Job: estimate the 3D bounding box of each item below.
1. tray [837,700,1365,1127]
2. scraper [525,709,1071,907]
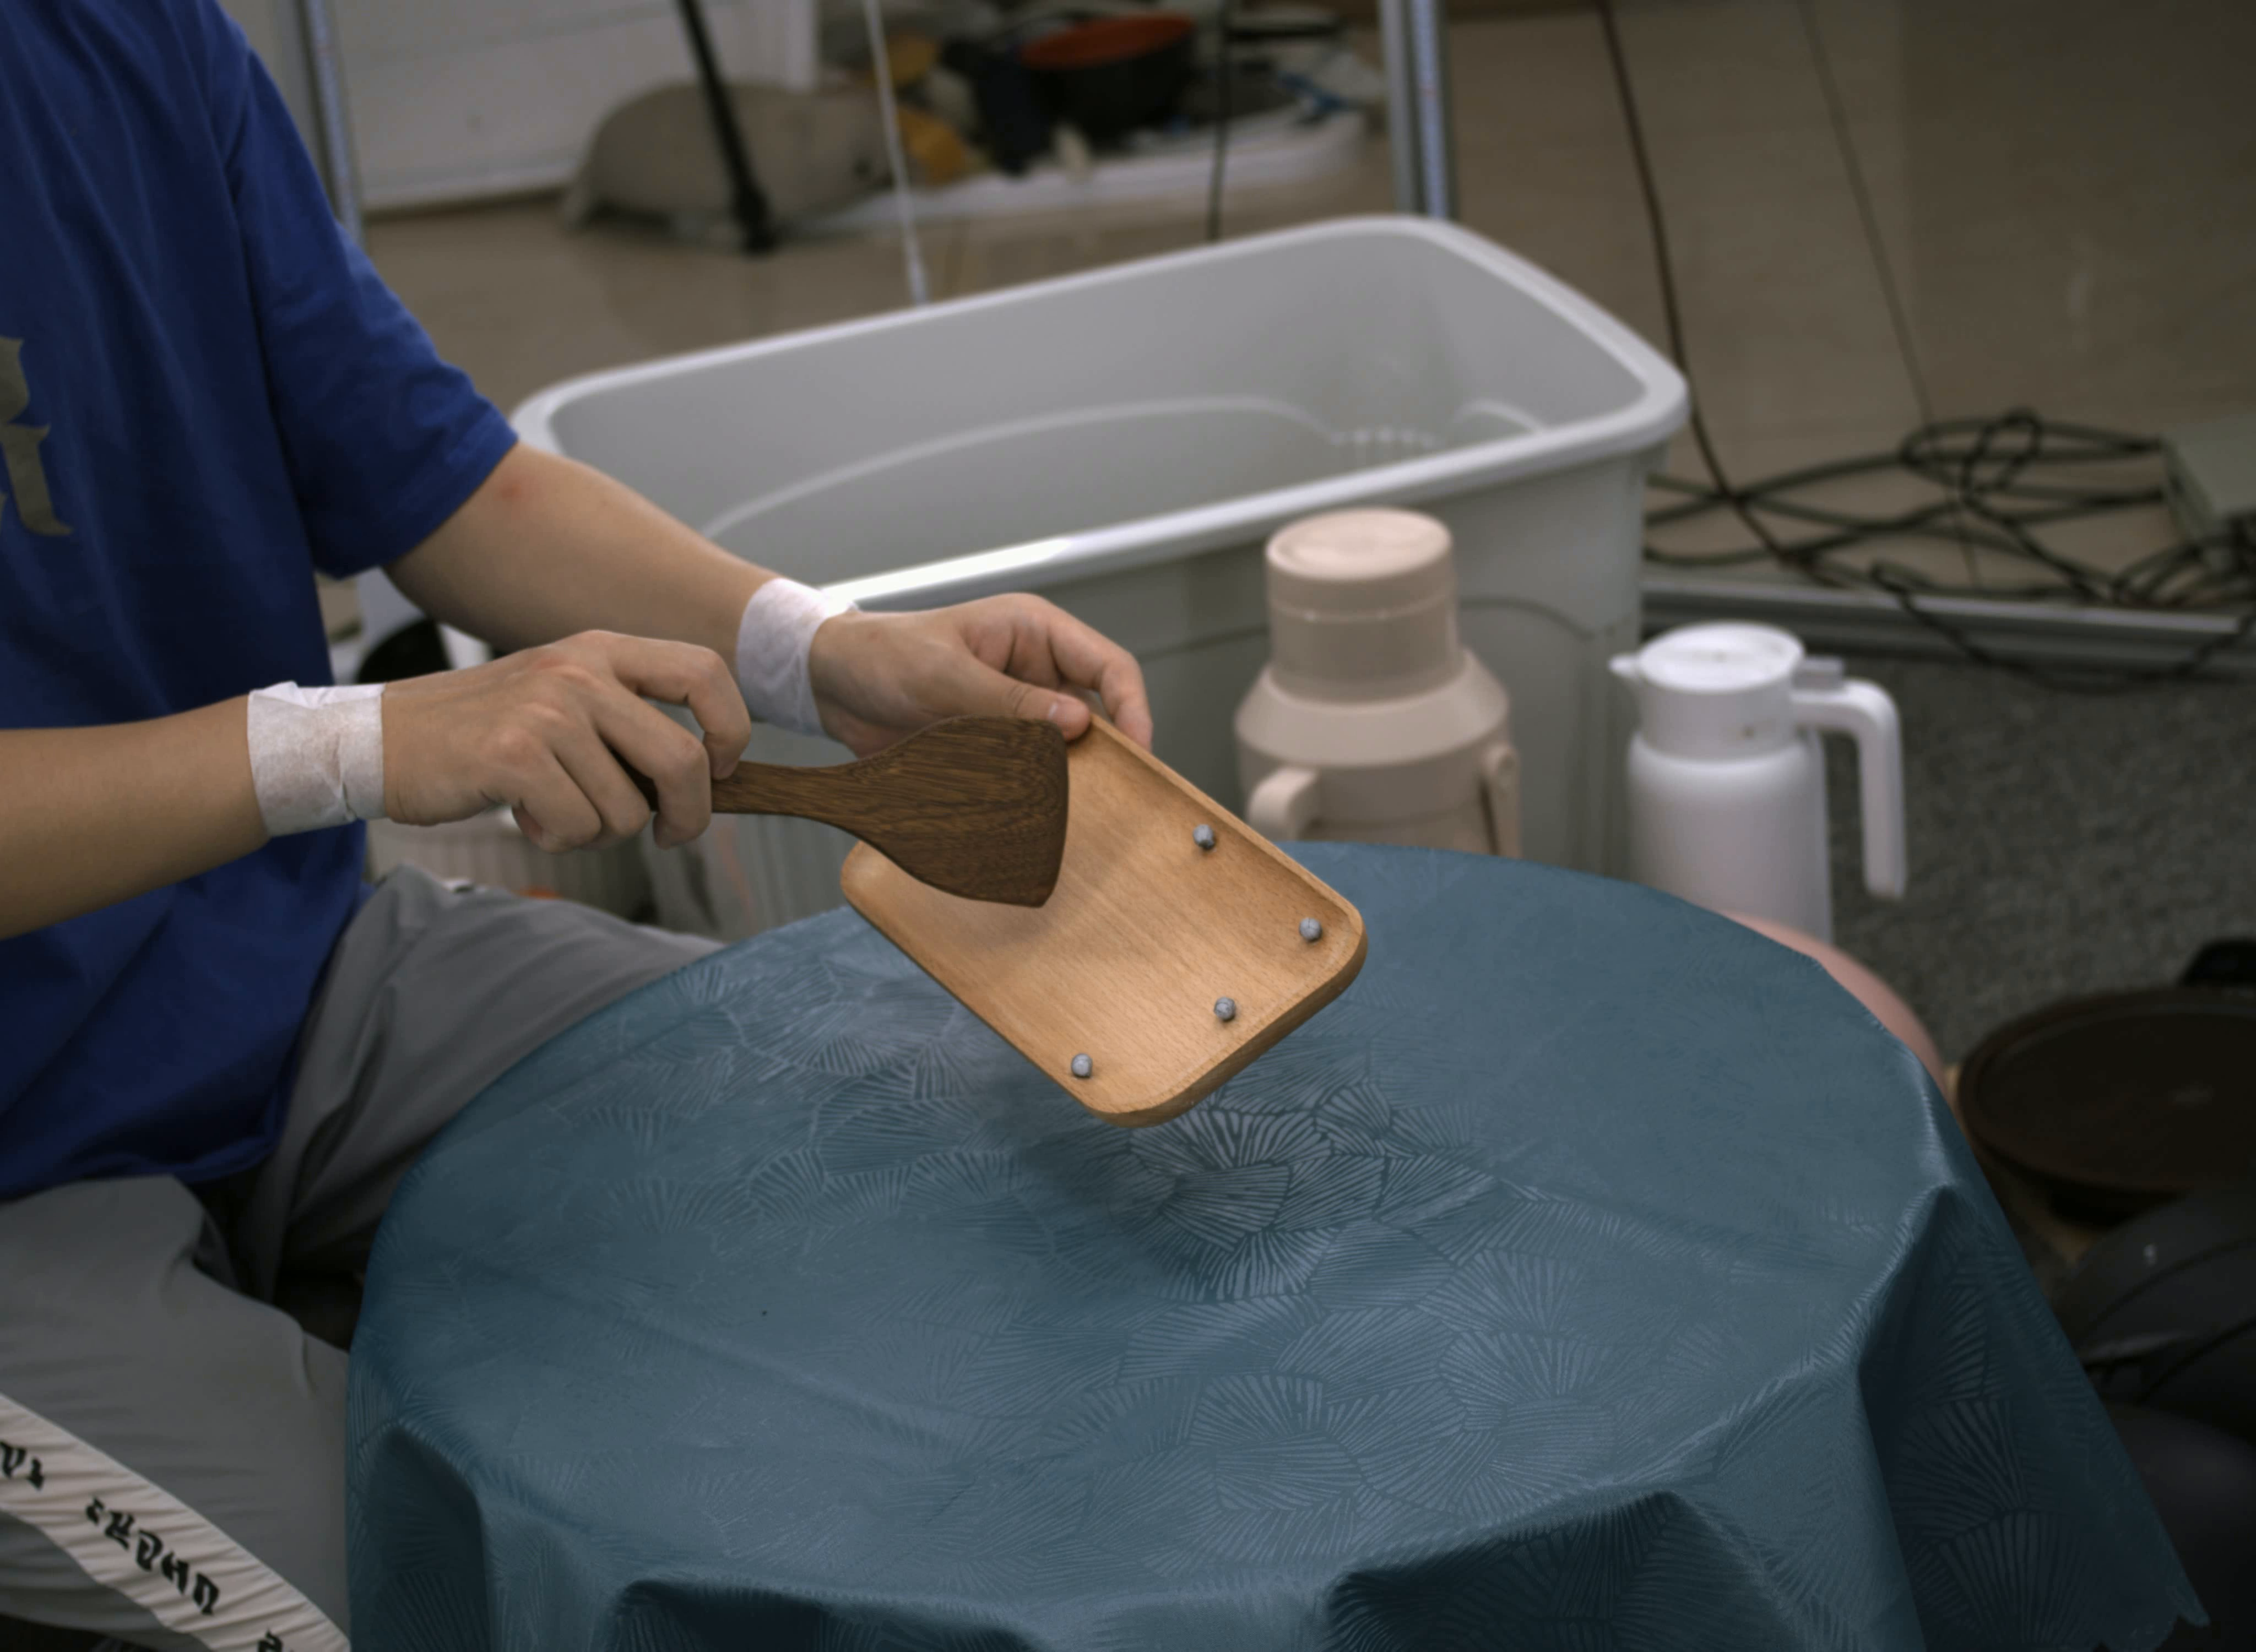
[{"bbox_3d":[-0.012,0.032,2.174,0.130,0.023,0.247,-35,36,-12],"label":"tray"},{"bbox_3d":[-0.123,-0.013,2.137,0.211,0.076,0.011,4,-3,-15],"label":"scraper"}]
